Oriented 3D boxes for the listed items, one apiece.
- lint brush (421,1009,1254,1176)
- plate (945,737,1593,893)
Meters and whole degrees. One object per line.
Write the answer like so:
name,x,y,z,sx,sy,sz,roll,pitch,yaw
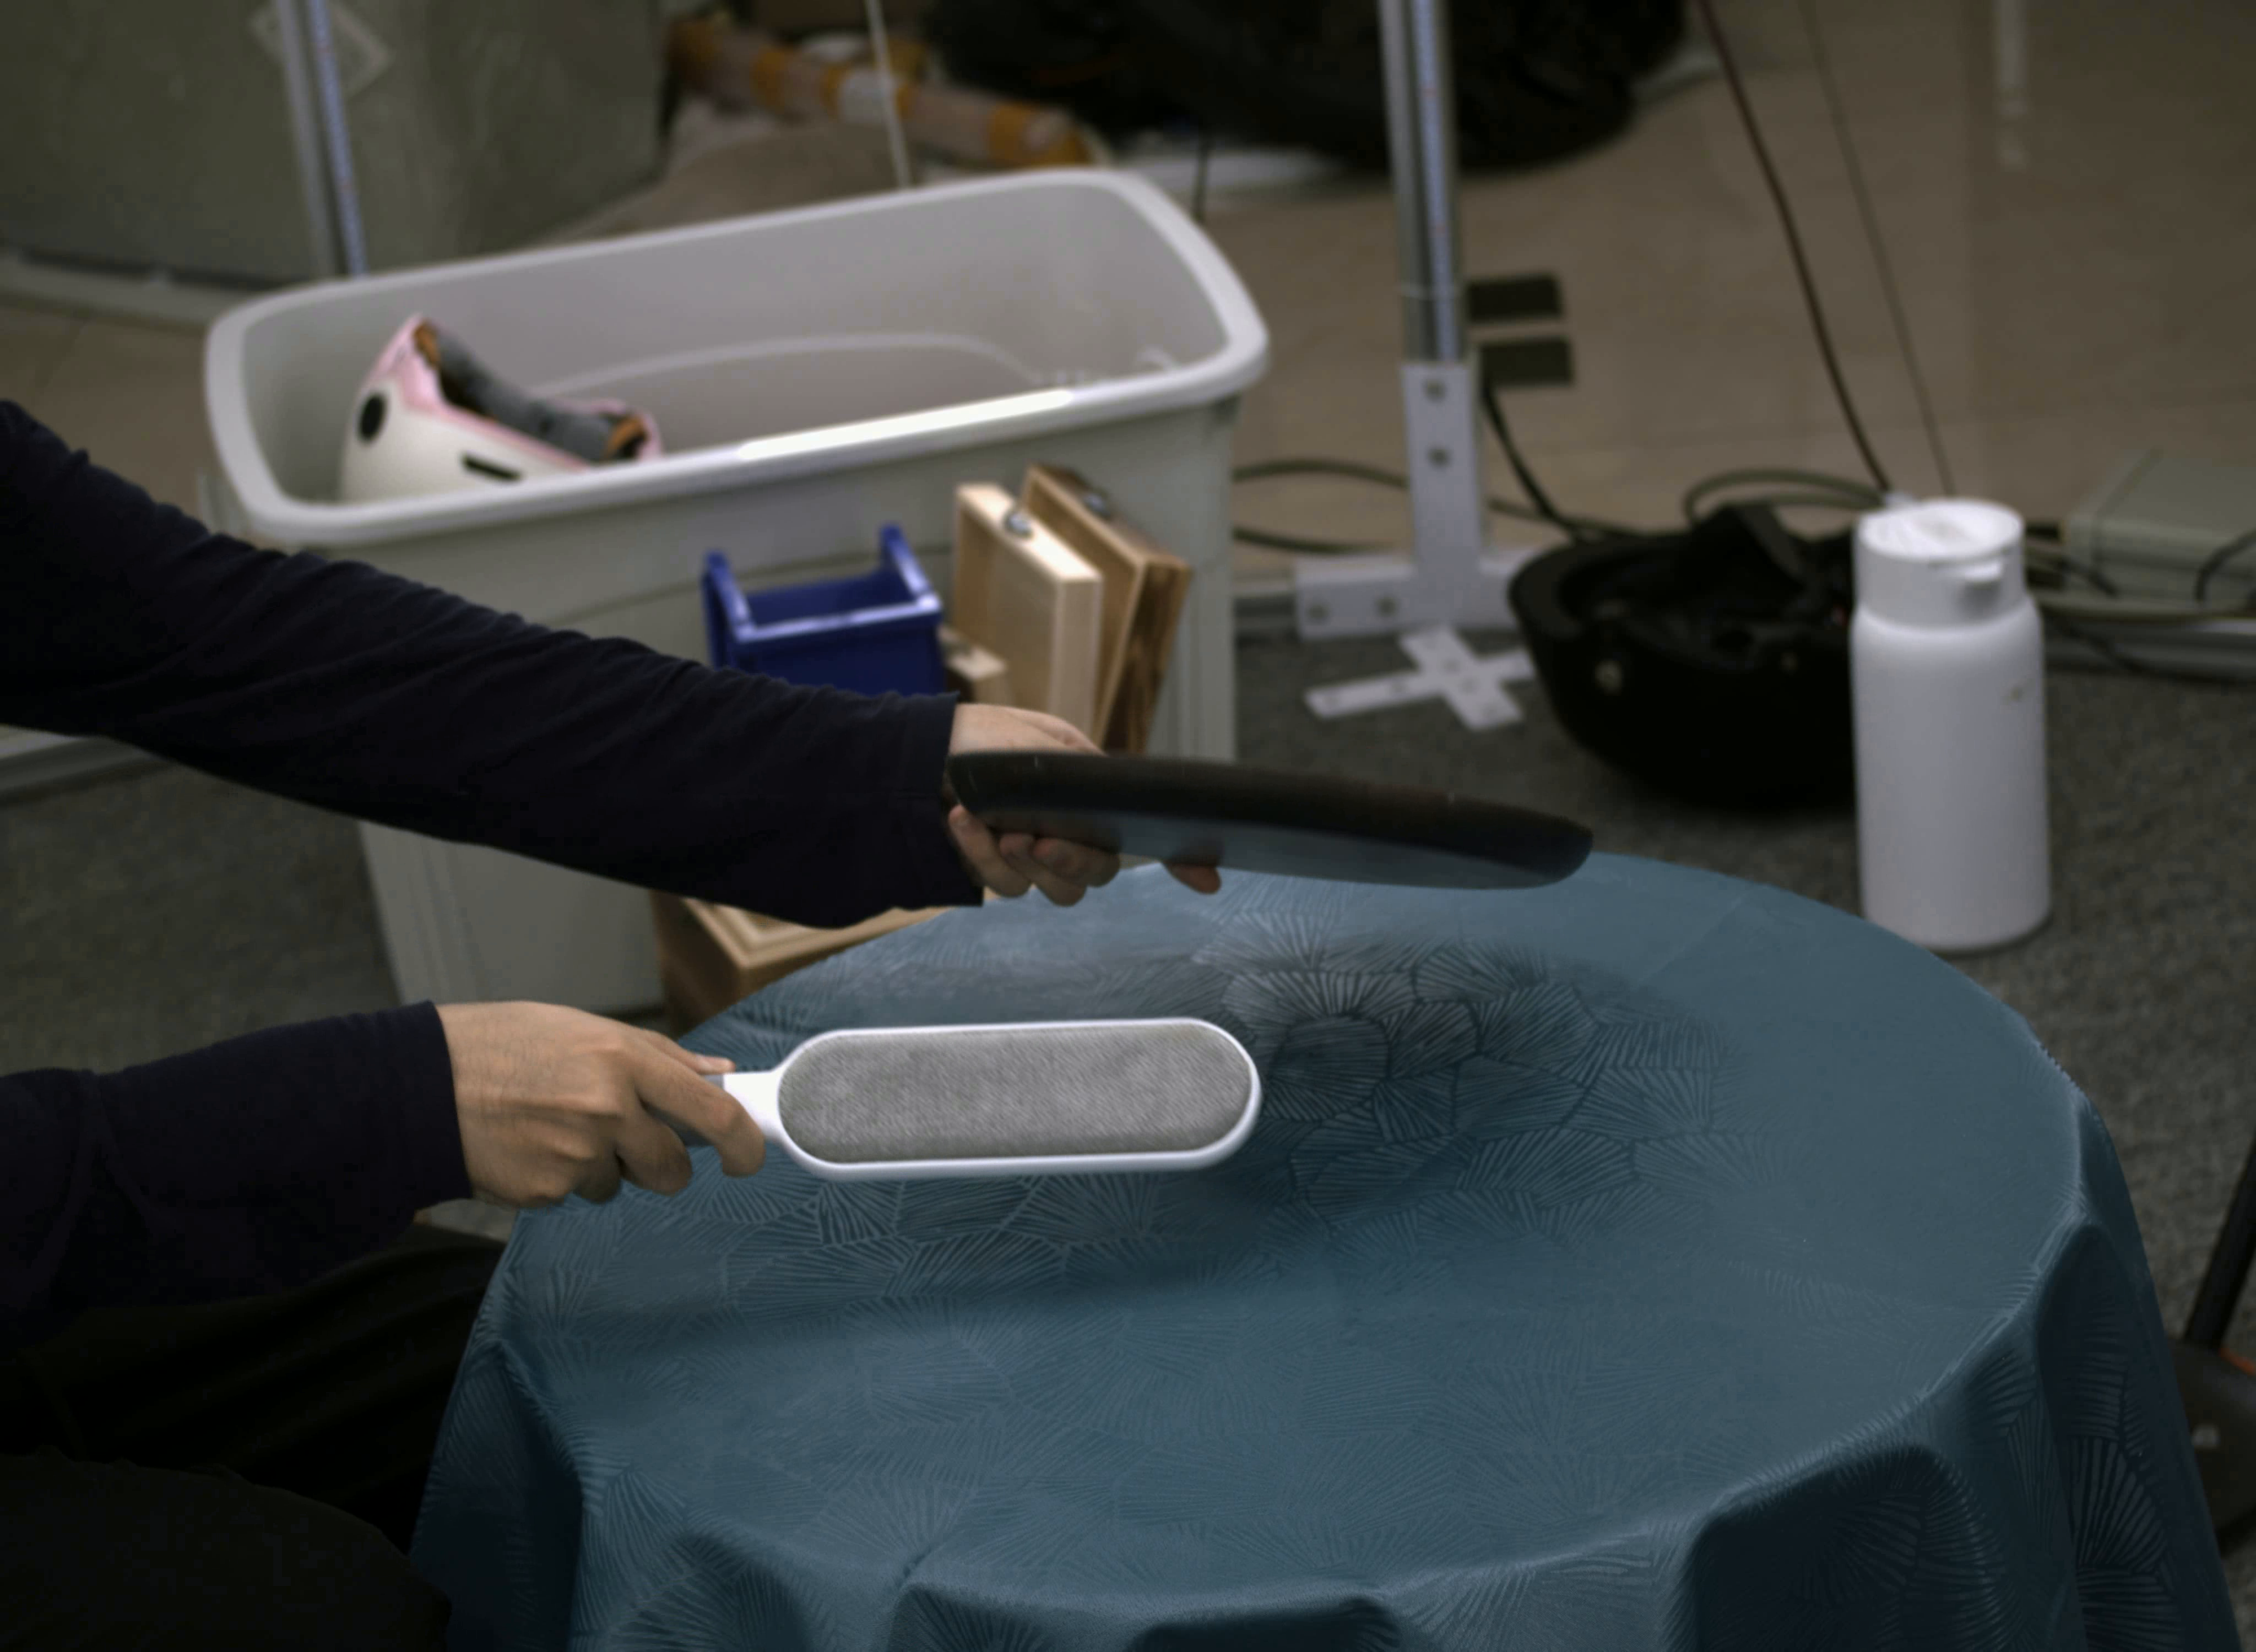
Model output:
lint brush,-0.107,0.100,2.094,0.308,0.059,0.021,-2,-15,-1
plate,0.054,-0.004,2.198,0.254,0.029,0.256,7,-8,1
